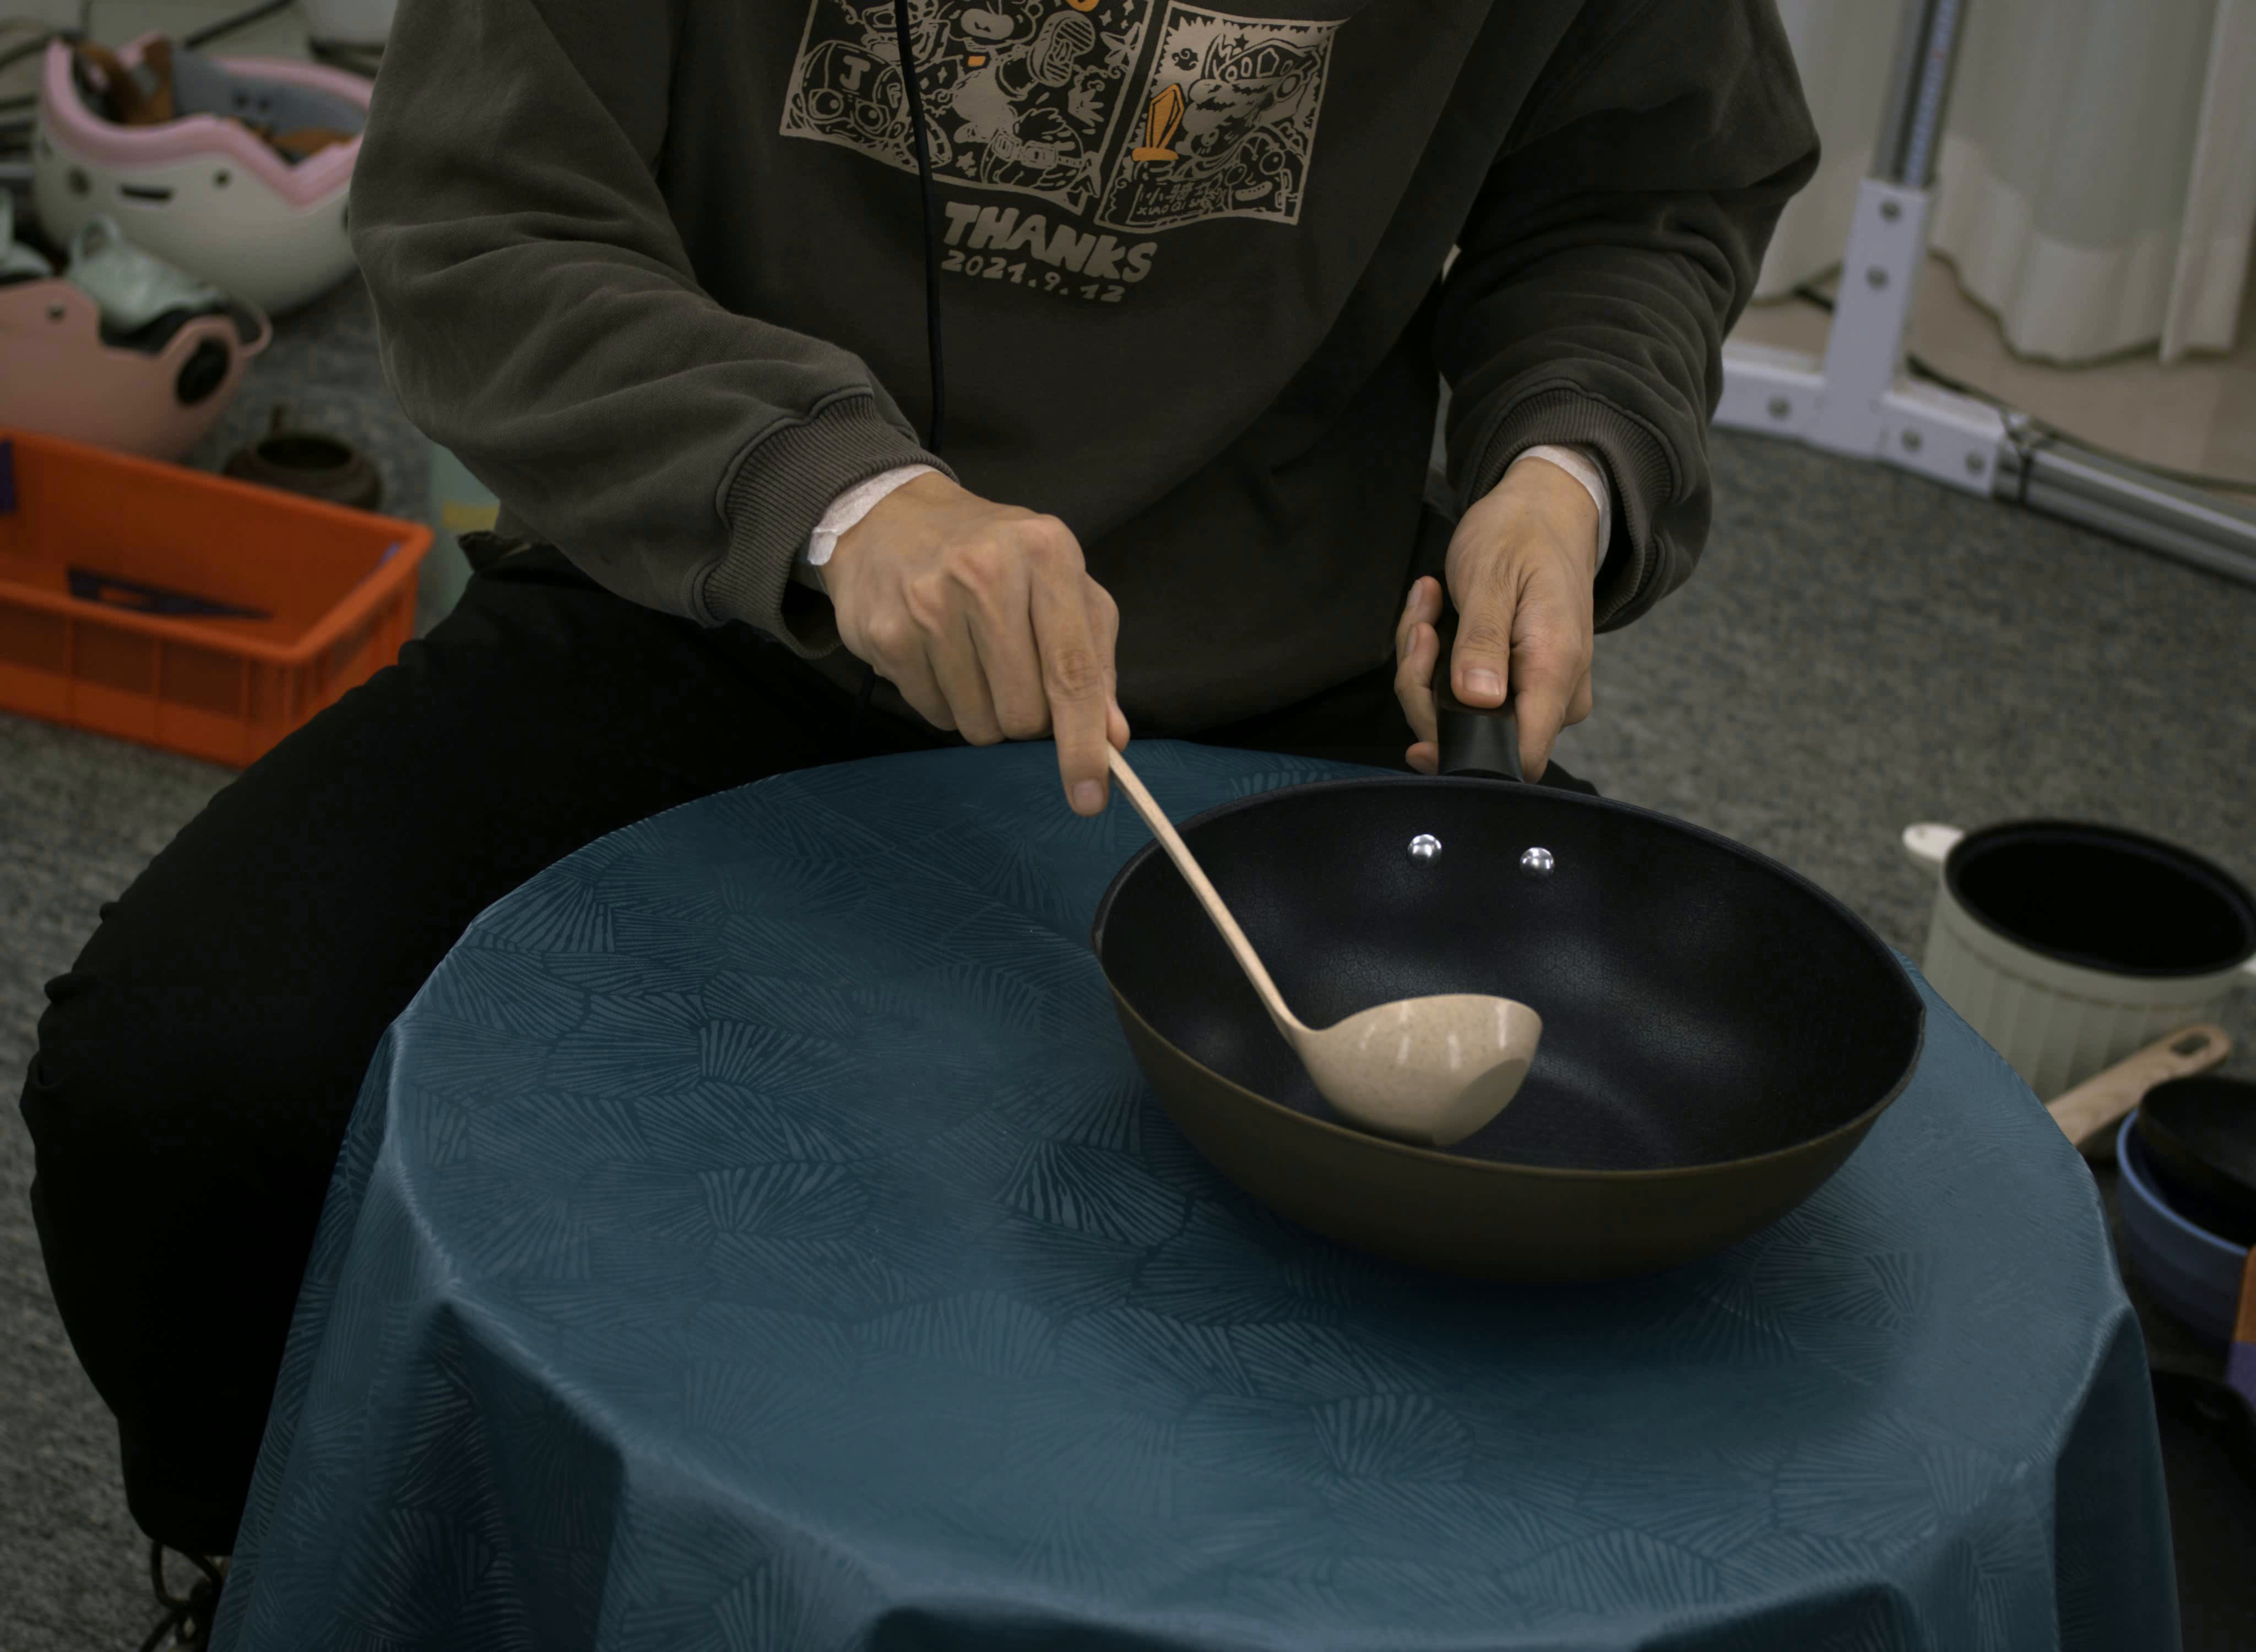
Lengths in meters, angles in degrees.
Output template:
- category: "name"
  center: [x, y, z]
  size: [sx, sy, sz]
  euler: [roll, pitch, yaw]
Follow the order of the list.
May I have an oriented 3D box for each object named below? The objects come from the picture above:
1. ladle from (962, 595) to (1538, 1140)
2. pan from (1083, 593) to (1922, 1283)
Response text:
- category: "ladle"
  center: [0.041, -0.003, 1.759]
  size: [0.073, 0.071, 0.256]
  euler: [-35, 67, -1]
- category: "pan"
  center: [0.125, 0.041, 1.905]
  size: [0.287, 0.086, 0.466]
  euler: [5, 26, -2]
